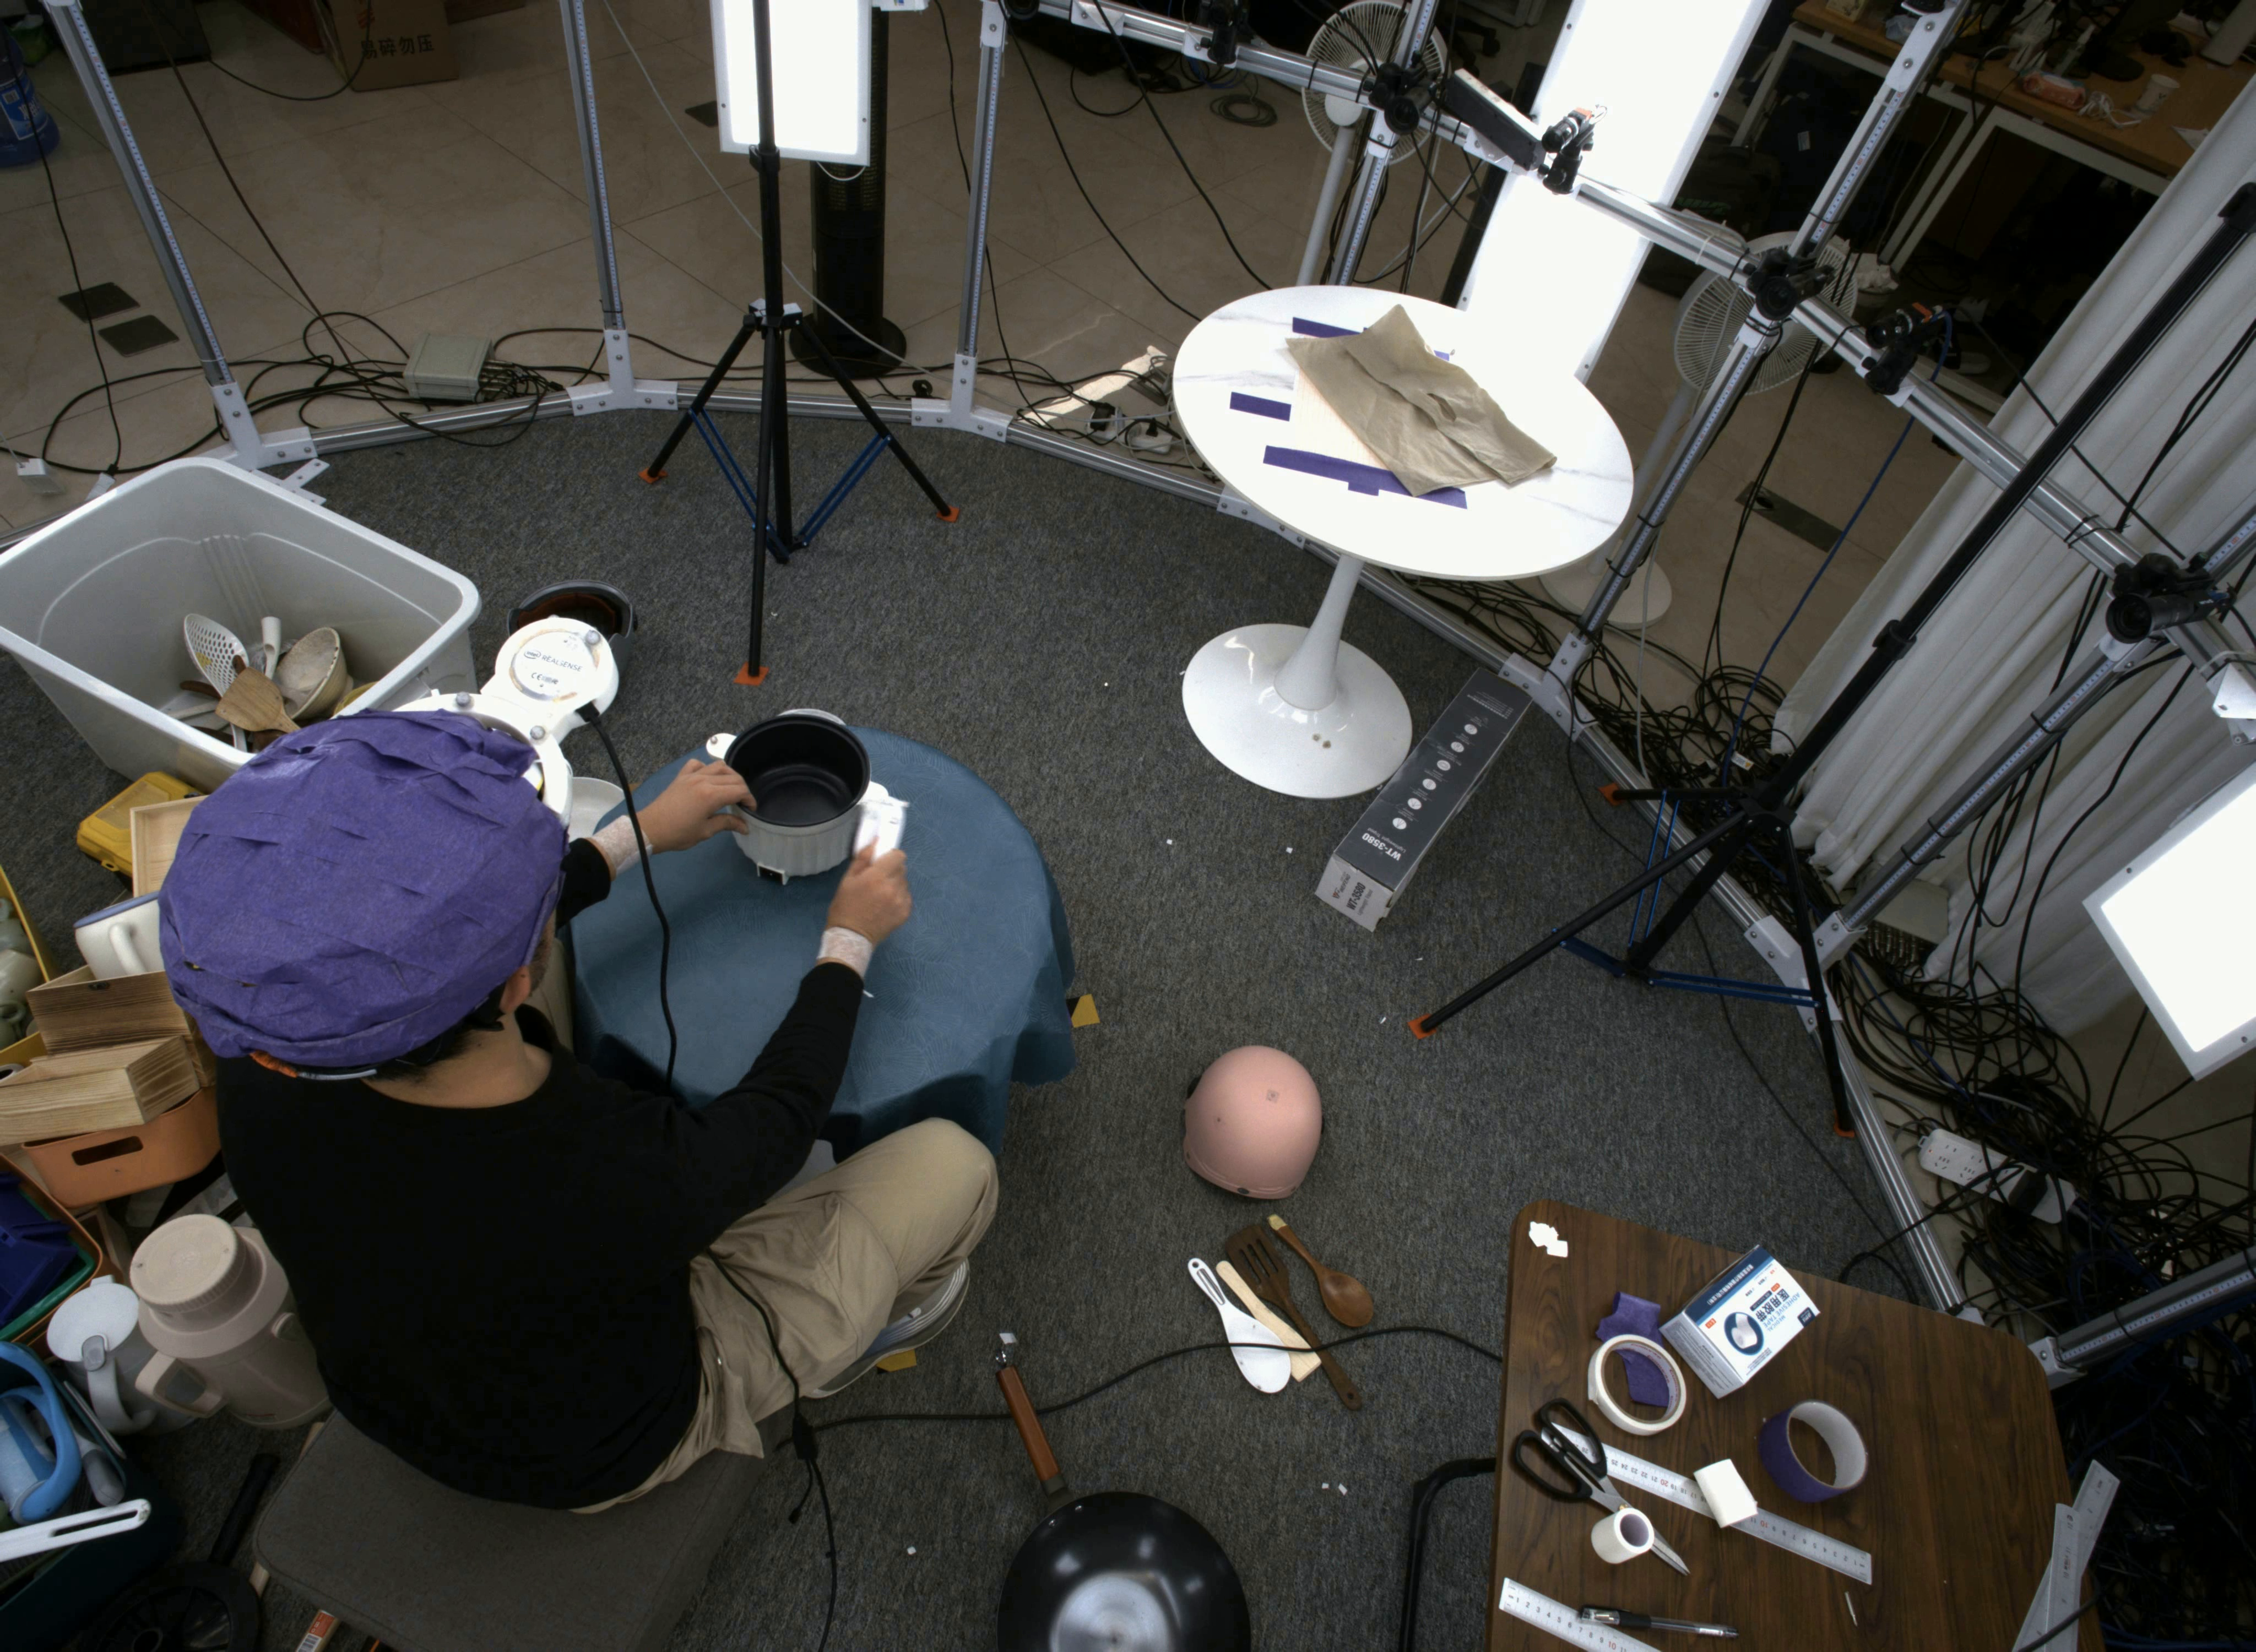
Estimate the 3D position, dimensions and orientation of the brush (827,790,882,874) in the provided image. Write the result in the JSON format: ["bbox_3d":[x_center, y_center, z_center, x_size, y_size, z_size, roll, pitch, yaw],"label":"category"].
[{"bbox_3d":[-0.321,0.007,1.549,0.051,0.070,0.100,15,89,-29],"label":"brush"}]

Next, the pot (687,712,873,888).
[{"bbox_3d":[-0.440,-0.036,1.652,0.239,0.145,0.188,18,54,-2],"label":"pot"}]
